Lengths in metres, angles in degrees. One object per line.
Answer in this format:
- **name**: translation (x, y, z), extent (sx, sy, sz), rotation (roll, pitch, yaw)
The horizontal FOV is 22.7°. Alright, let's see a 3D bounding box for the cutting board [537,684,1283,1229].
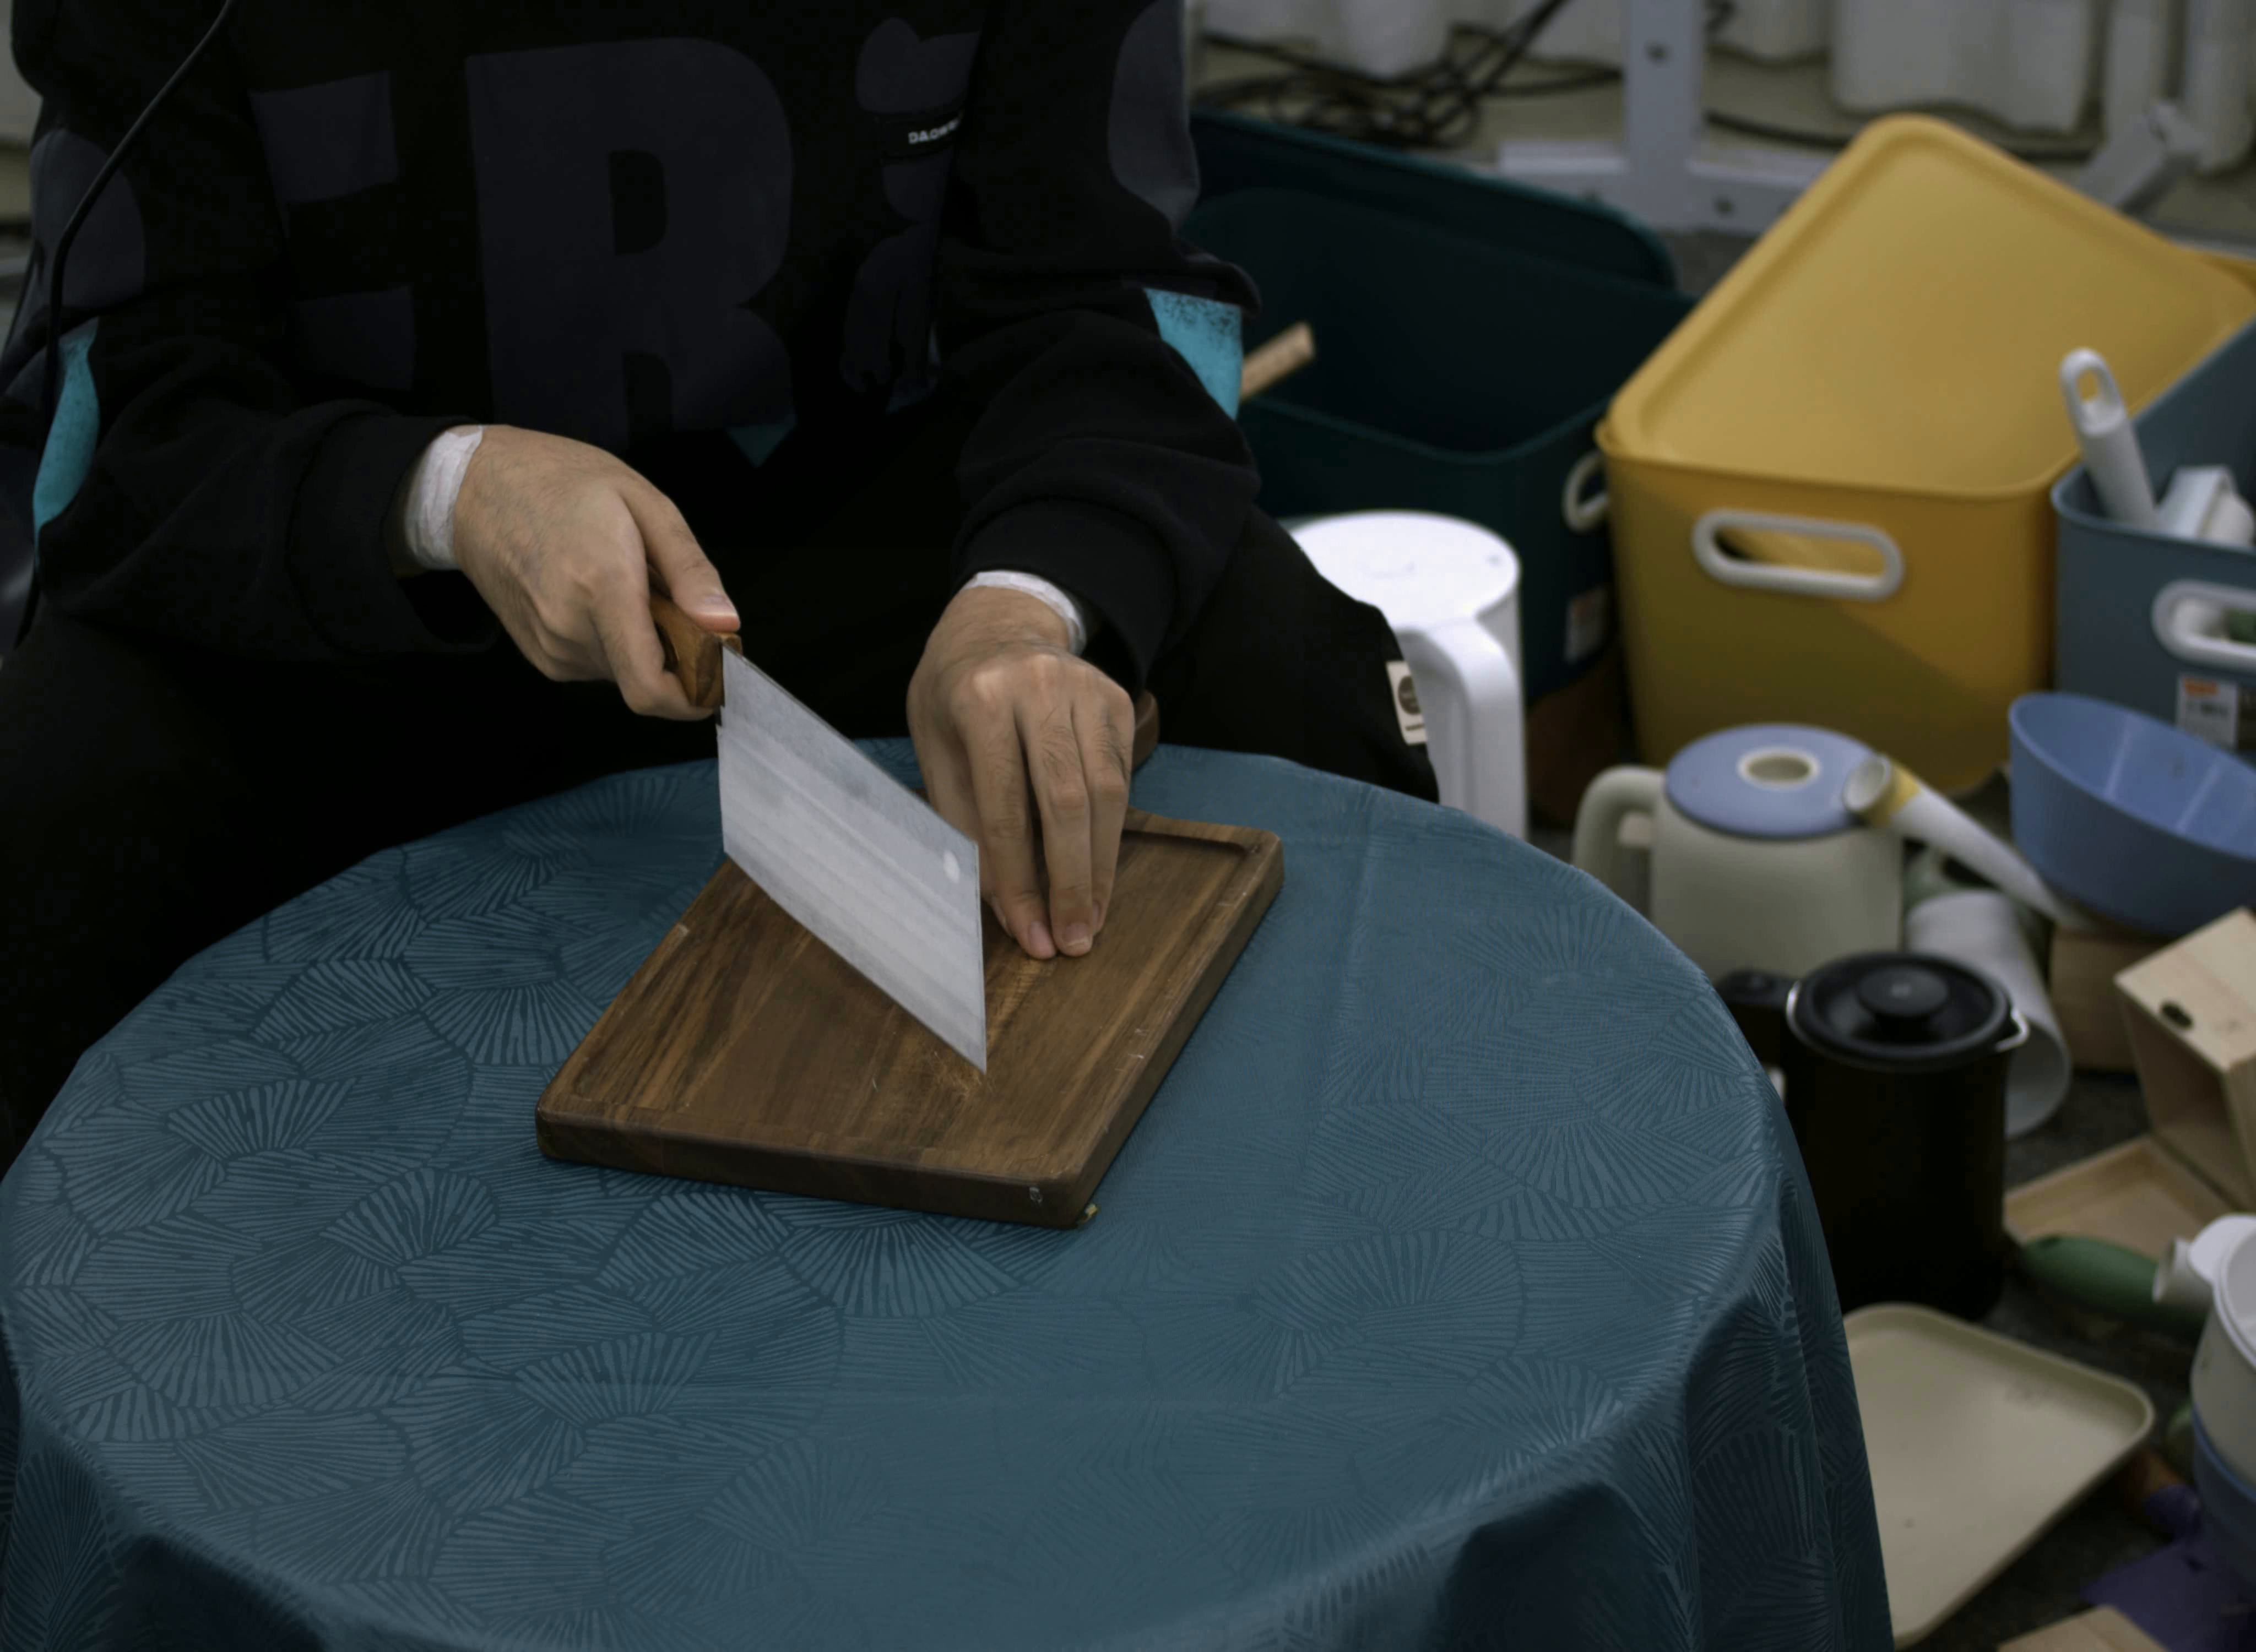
- **cutting board**: translation (-0.057, 0.035, 2.011), extent (0.199, 0.023, 0.358), rotation (6, 29, 17)

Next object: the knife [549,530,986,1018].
- **knife**: translation (-0.127, -0.017, 1.973), extent (0.021, 0.092, 0.307), rotation (-15, 30, -27)
